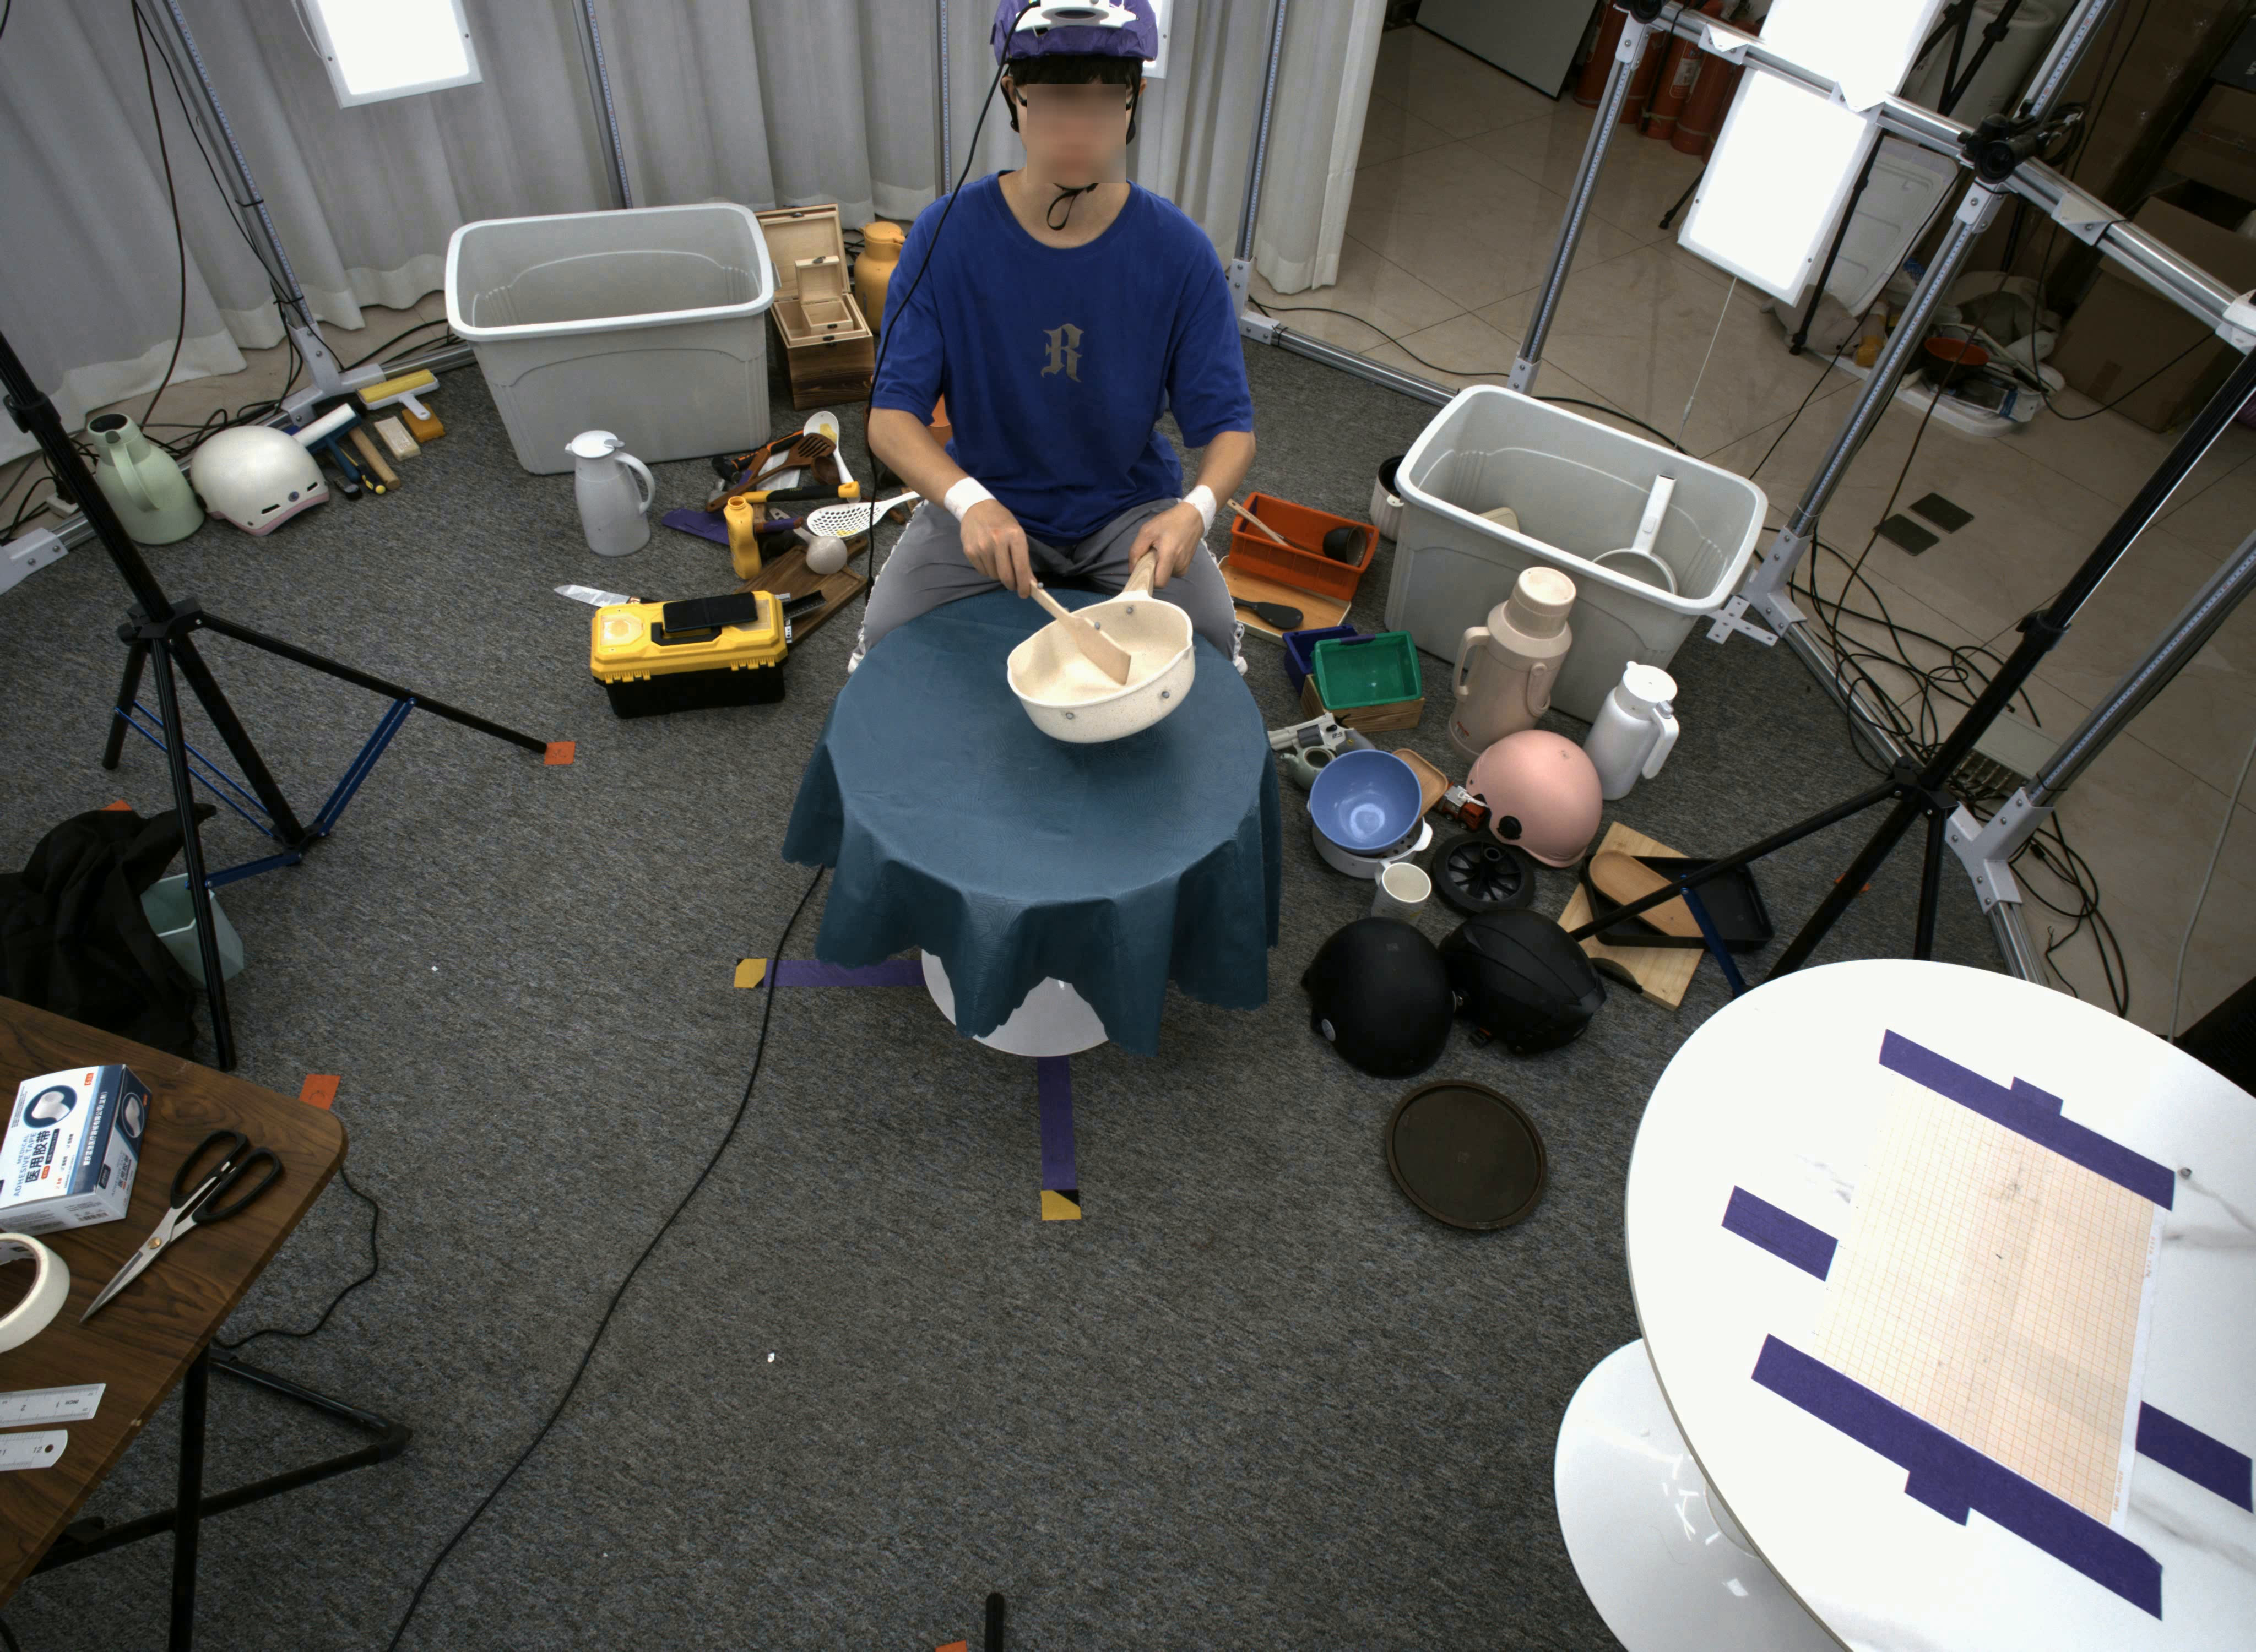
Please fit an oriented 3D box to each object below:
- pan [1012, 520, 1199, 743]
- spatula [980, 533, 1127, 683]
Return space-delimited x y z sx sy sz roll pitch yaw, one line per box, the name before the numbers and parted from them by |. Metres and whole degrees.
pan | 0.004 -0.269 1.767 0.264 0.099 0.444 -2 40 25
spatula | -0.105 -0.306 1.755 0.011 0.071 0.297 -37 70 -23
